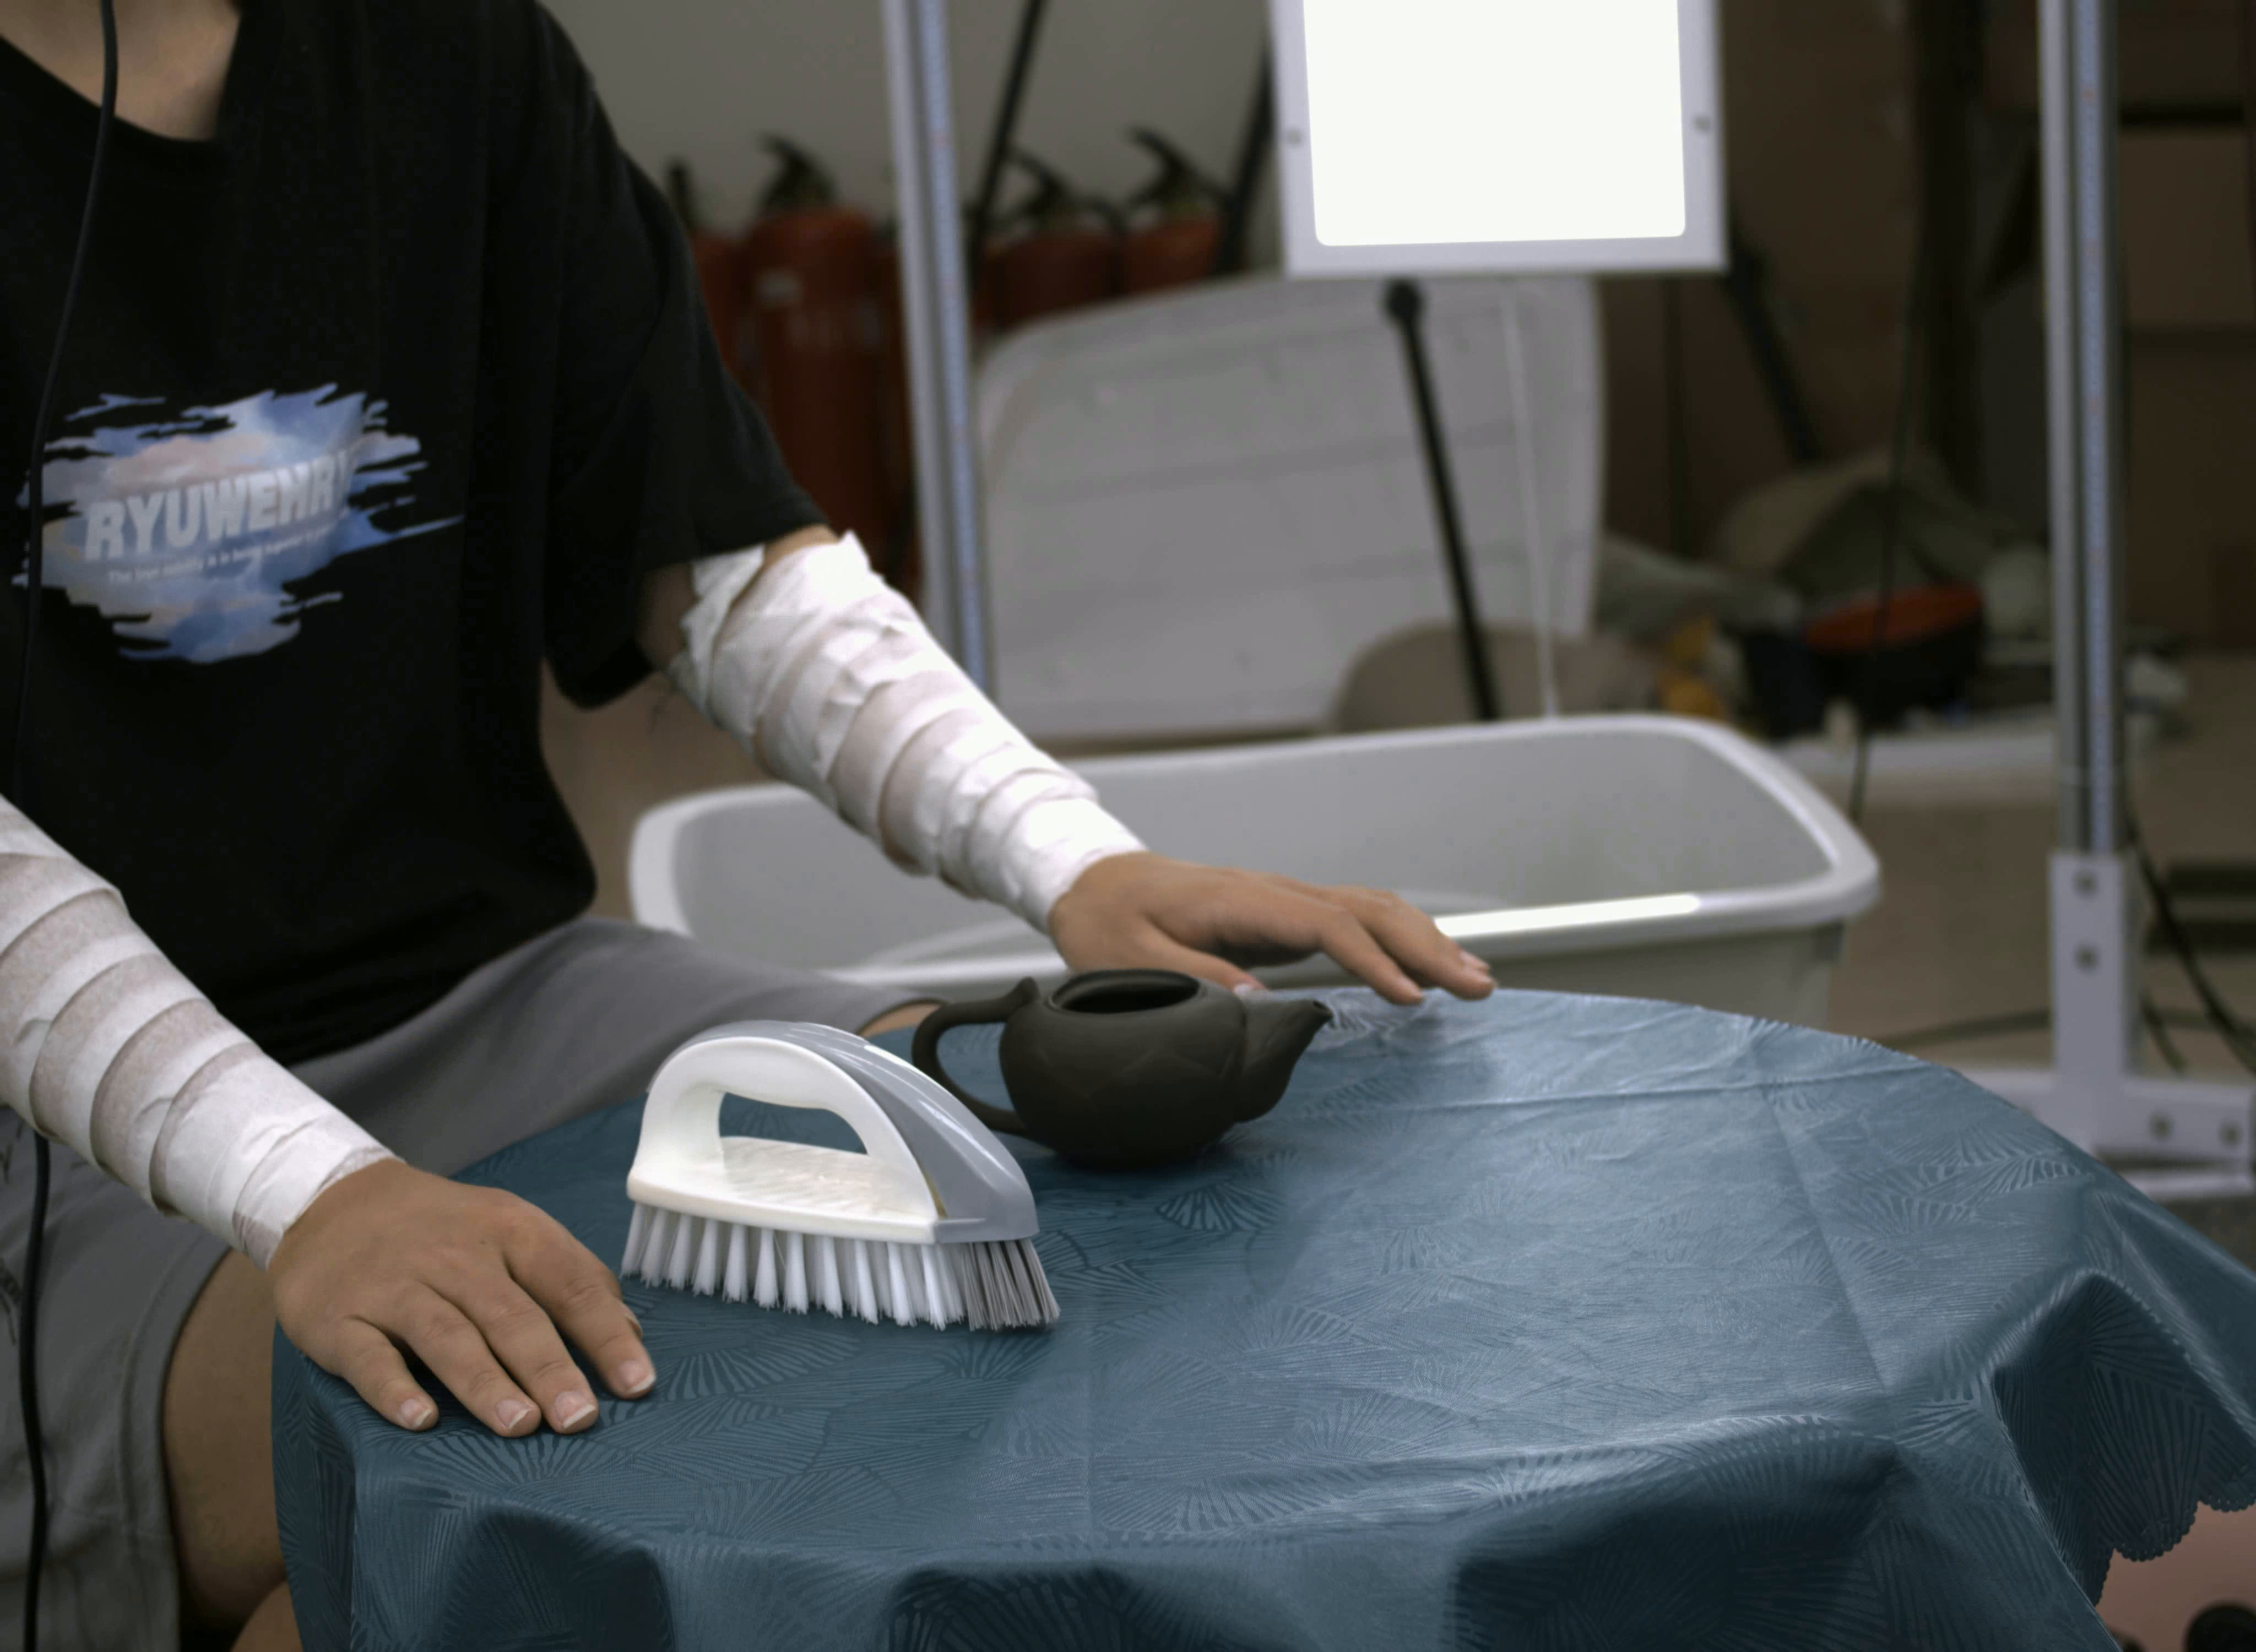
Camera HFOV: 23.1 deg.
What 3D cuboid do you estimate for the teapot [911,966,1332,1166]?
[{"bbox_3d":[-0.002,0.083,1.941,0.156,0.064,0.091,0,14,16],"label":"teapot"}]

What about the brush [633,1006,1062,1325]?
[{"bbox_3d":[-0.092,0.109,1.812,0.179,0.094,0.060,10,25,42],"label":"brush"}]
